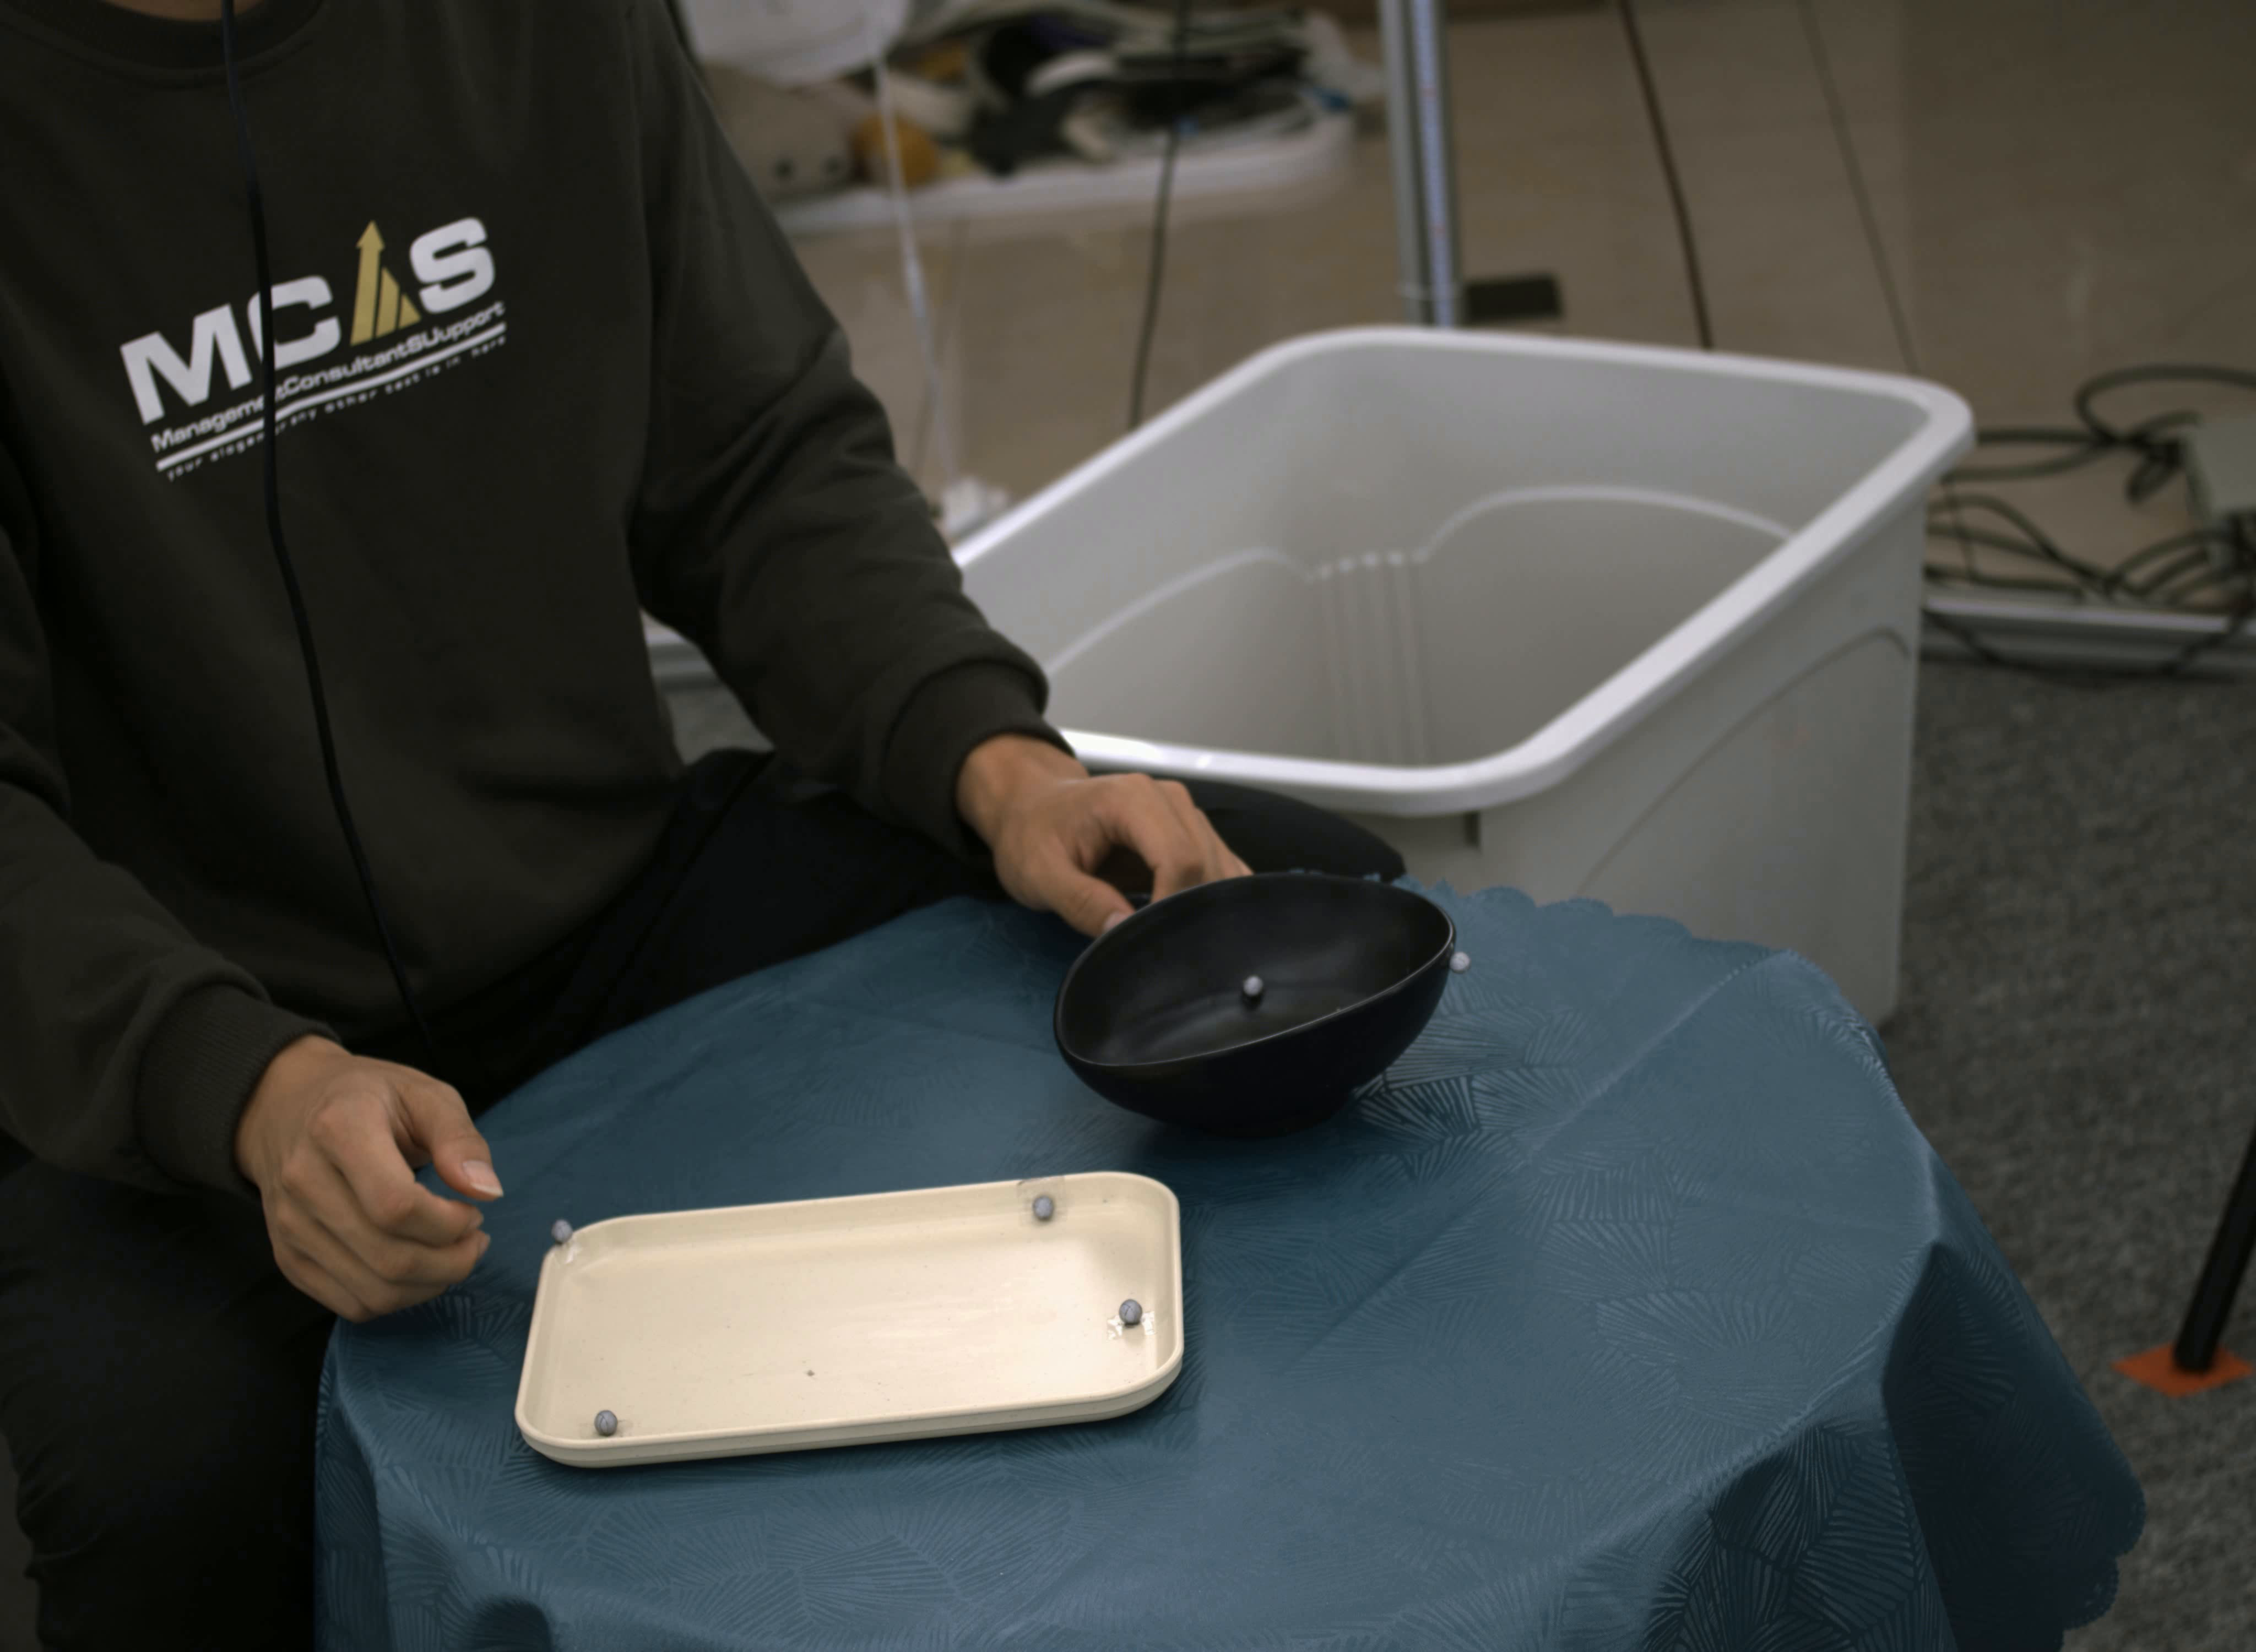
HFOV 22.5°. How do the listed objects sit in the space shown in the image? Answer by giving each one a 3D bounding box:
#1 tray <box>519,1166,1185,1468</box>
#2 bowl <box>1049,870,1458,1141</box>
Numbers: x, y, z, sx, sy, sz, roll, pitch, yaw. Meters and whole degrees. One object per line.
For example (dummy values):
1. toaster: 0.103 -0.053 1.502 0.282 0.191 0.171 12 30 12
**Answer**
1. tray: -0.099 0.179 2.063 0.239 0.018 0.169 -6 25 2
2. bowl: 0.052 0.078 2.192 0.169 0.068 0.136 -24 29 -30
